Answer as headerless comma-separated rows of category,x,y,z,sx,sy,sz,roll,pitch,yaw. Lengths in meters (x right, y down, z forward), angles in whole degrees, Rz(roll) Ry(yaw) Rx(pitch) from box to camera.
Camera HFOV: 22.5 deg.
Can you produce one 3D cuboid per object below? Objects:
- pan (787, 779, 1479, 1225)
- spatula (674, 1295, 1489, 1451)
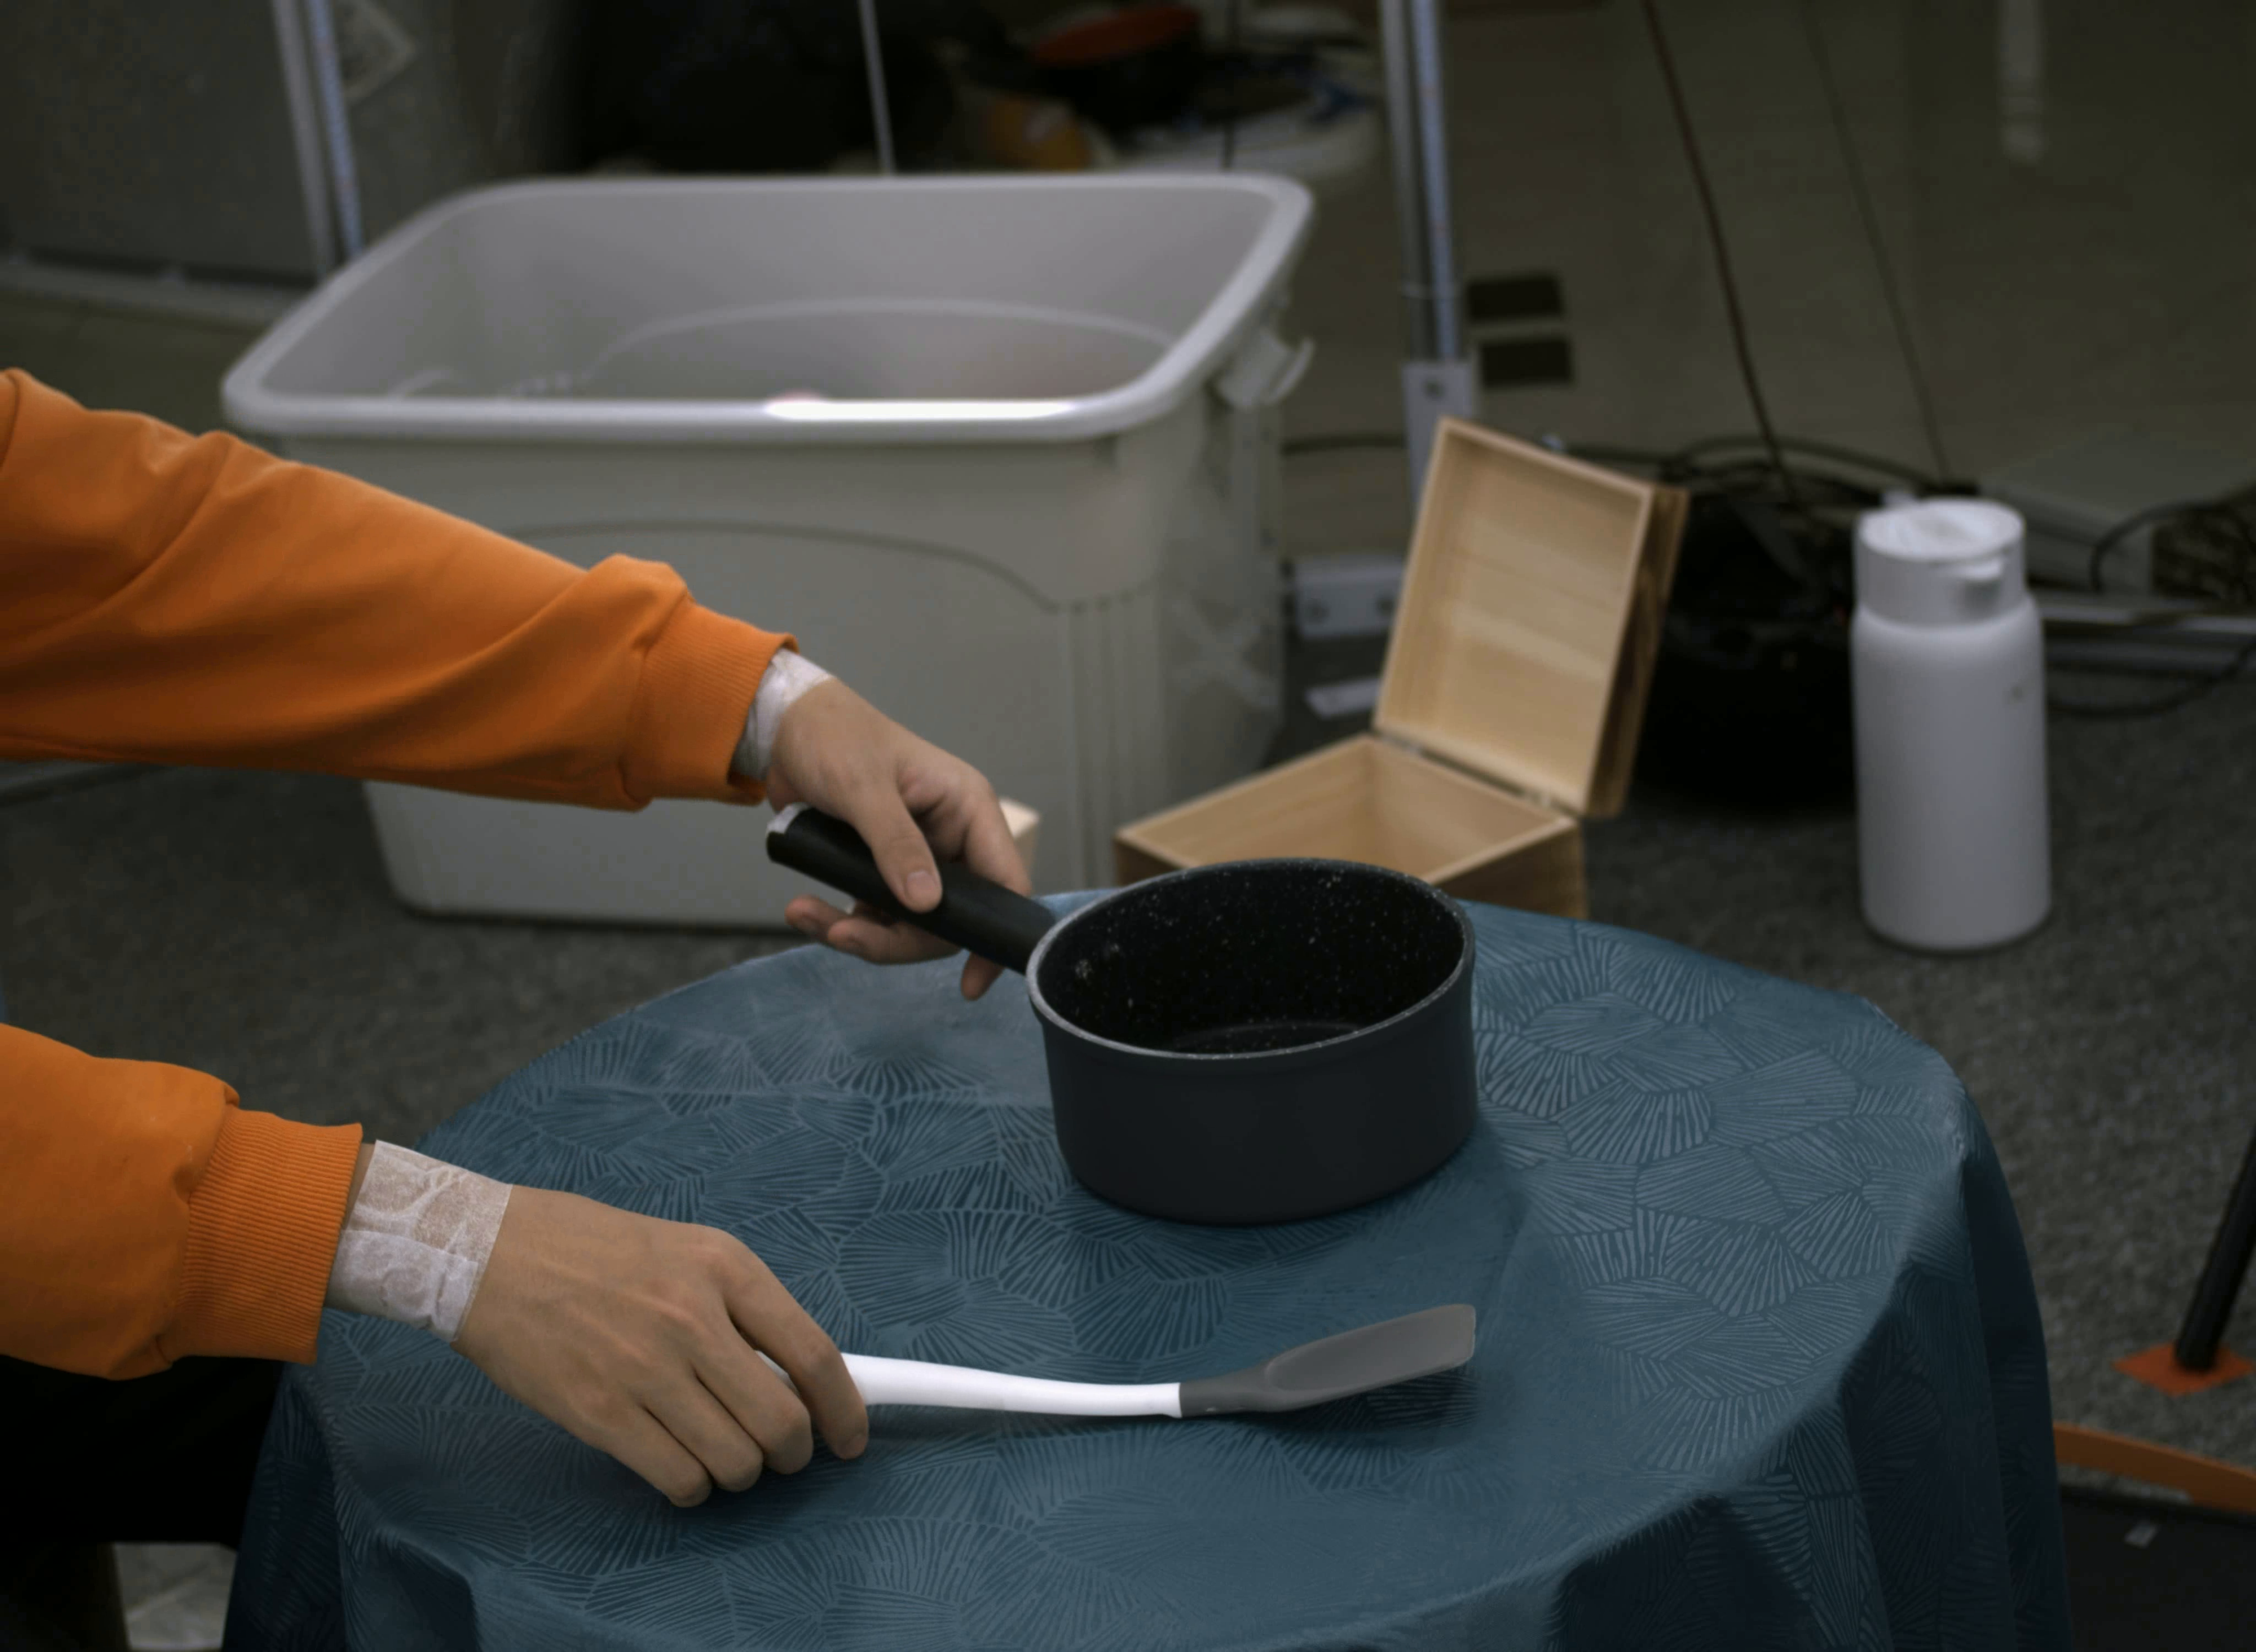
pan,-0.009,0.061,2.213,0.326,0.088,0.170,18,34,39
spatula,-0.016,0.194,1.994,0.287,0.032,0.058,-4,18,6
